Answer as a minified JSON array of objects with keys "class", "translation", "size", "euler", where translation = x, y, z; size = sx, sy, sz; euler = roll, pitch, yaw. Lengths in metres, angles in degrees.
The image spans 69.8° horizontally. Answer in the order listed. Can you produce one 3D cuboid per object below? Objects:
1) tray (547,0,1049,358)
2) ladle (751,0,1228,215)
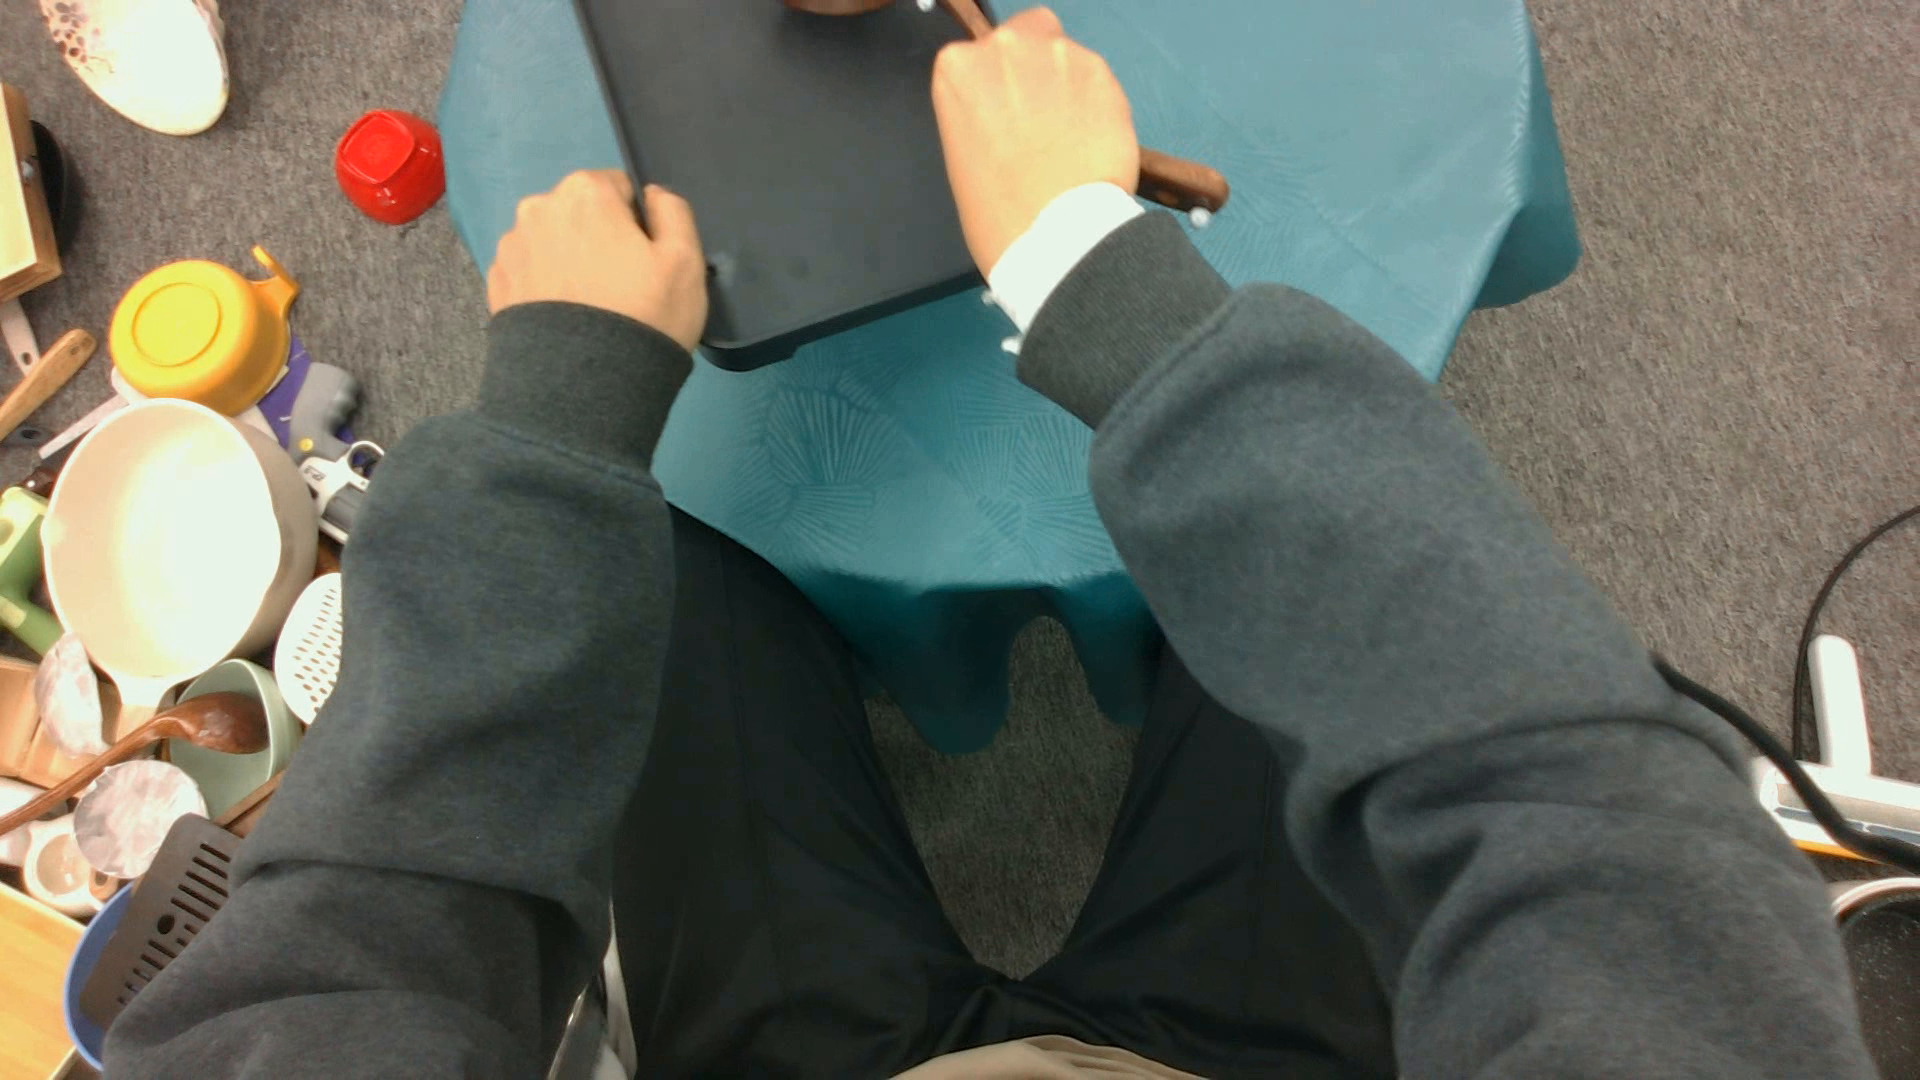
[{"class":"tray","translation":[-0.097,-0.250,0.653],"size":[0.184,0.037,0.318],"euler":[-20,76,-9]},{"class":"ladle","translation":[0.002,-0.203,0.603],"size":[0.065,0.076,0.260],"euler":[-45,70,-2]}]
